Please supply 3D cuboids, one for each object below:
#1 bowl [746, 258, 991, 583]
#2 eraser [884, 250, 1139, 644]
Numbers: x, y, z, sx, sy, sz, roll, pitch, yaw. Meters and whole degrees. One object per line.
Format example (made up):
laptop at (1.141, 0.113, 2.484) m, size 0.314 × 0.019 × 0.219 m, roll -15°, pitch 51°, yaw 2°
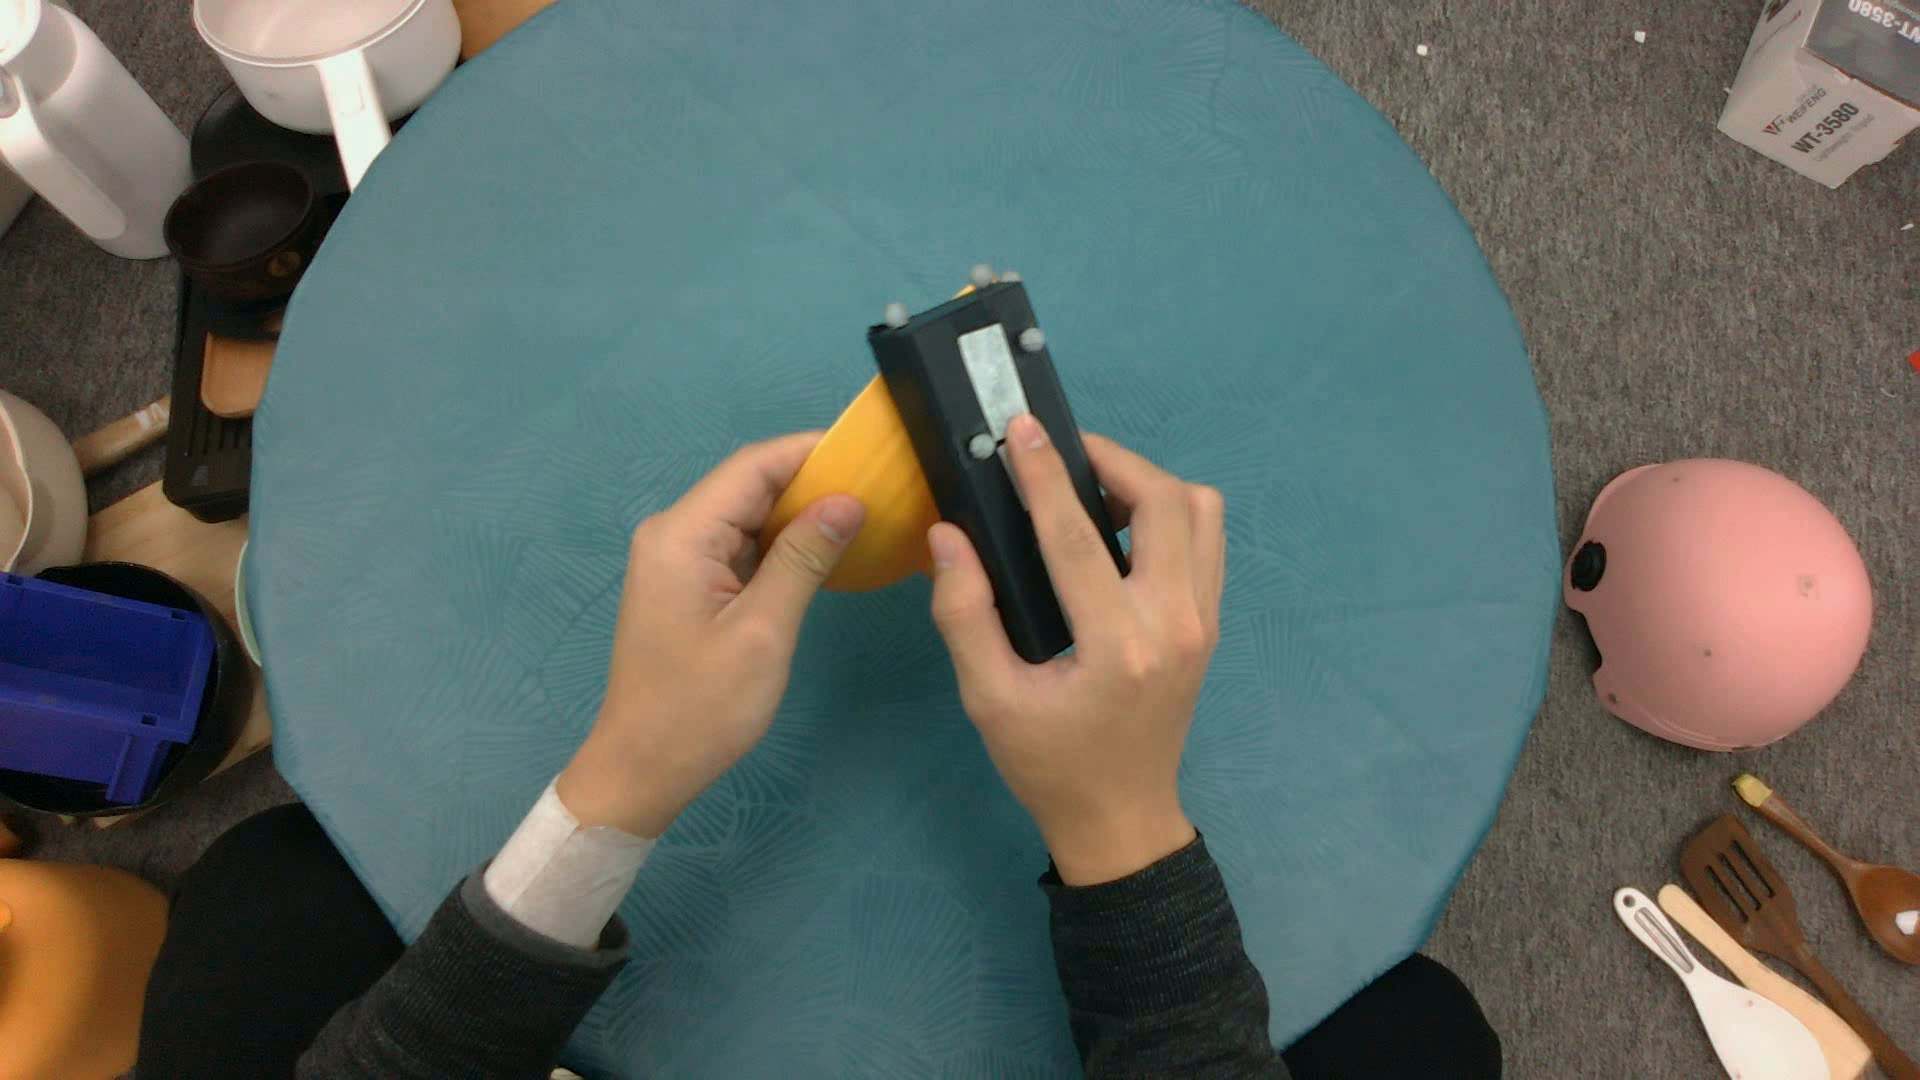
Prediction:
bowl at (-0.014, -0.033, 0.530) m, size 0.060 × 0.145 × 0.146 m, roll 39°, pitch 74°, yaw 1°
eraser at (0.019, -0.031, 0.472) m, size 0.054 × 0.030 × 0.125 m, roll -28°, pitch 107°, yaw -27°
